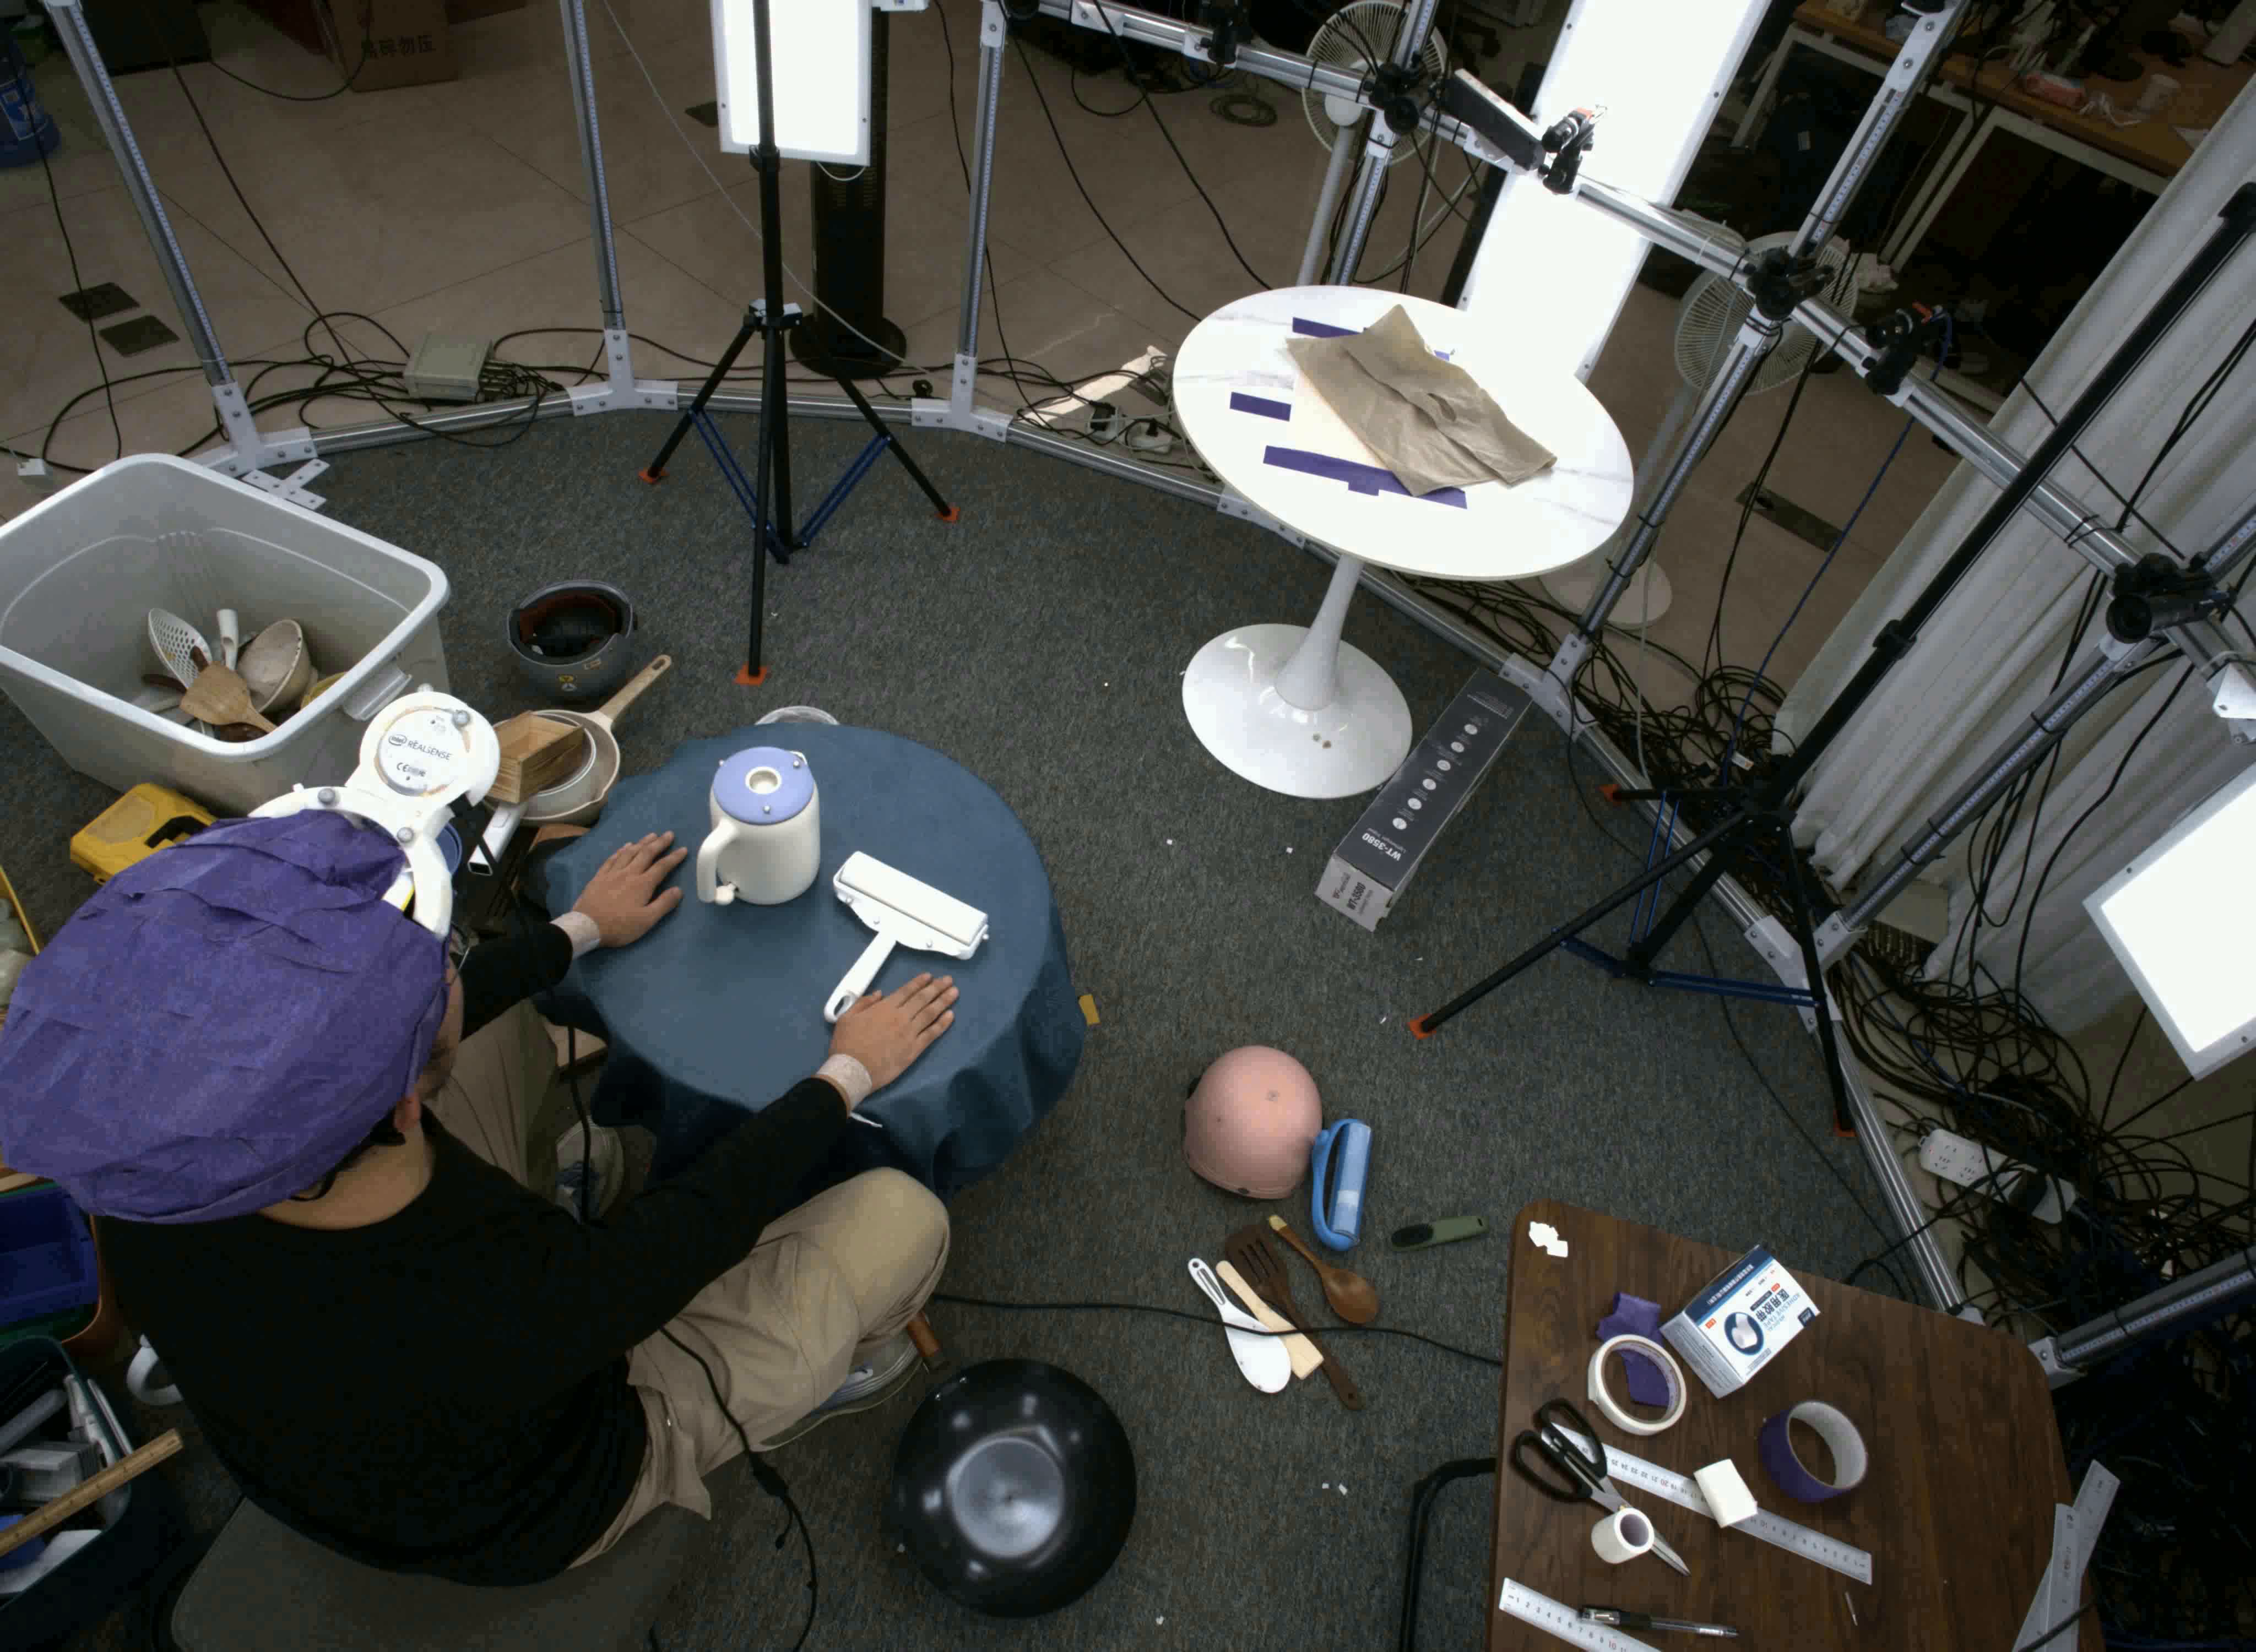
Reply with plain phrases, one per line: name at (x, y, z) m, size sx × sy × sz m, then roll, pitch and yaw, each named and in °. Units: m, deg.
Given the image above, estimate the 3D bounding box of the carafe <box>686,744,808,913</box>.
carafe at (-0.476, 0.015, 1.582) m, size 0.130 × 0.186 × 0.190 m, roll 27°, pitch 54°, yaw 10°

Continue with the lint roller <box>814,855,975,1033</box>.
lint roller at (-0.323, 0.155, 1.602) m, size 0.200 × 0.049 × 0.224 m, roll 26°, pitch 53°, yaw 3°
